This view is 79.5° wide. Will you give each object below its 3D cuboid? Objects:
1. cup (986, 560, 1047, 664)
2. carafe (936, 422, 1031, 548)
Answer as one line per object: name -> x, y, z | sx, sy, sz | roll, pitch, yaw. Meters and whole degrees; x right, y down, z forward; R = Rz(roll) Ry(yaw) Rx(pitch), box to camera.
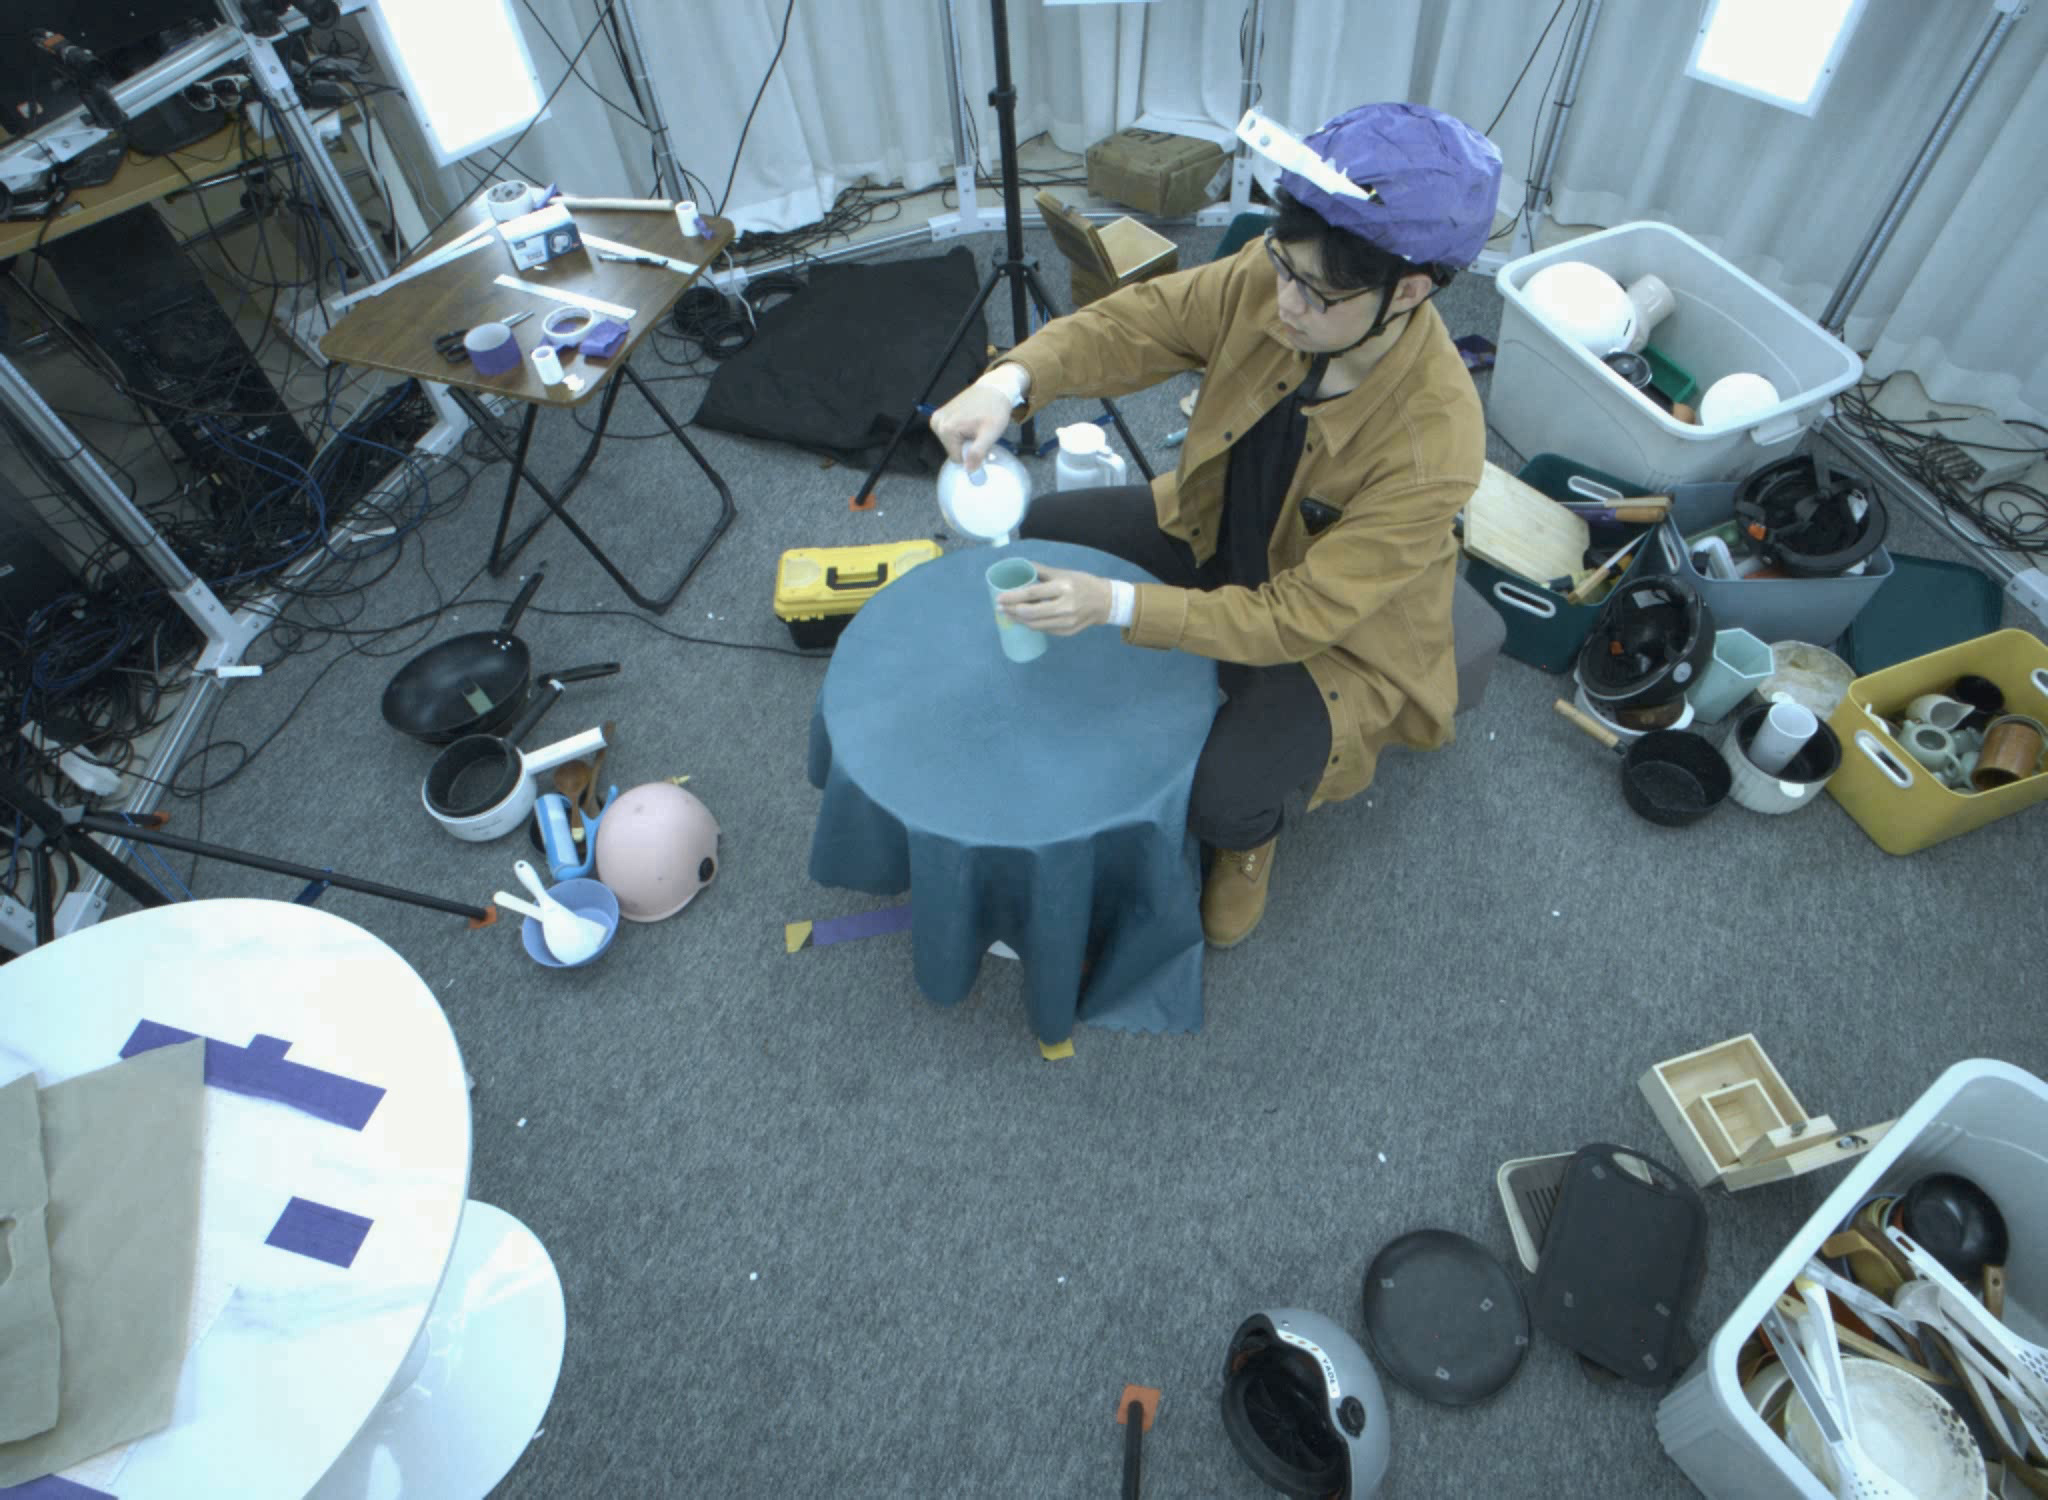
cup -> -0.007, -0.183, 1.636 | 0.066, 0.134, 0.066 | -5, 50, 7
carafe -> -0.062, -0.362, 1.638 | 0.132, 0.169, 0.246 | -19, 17, 2
